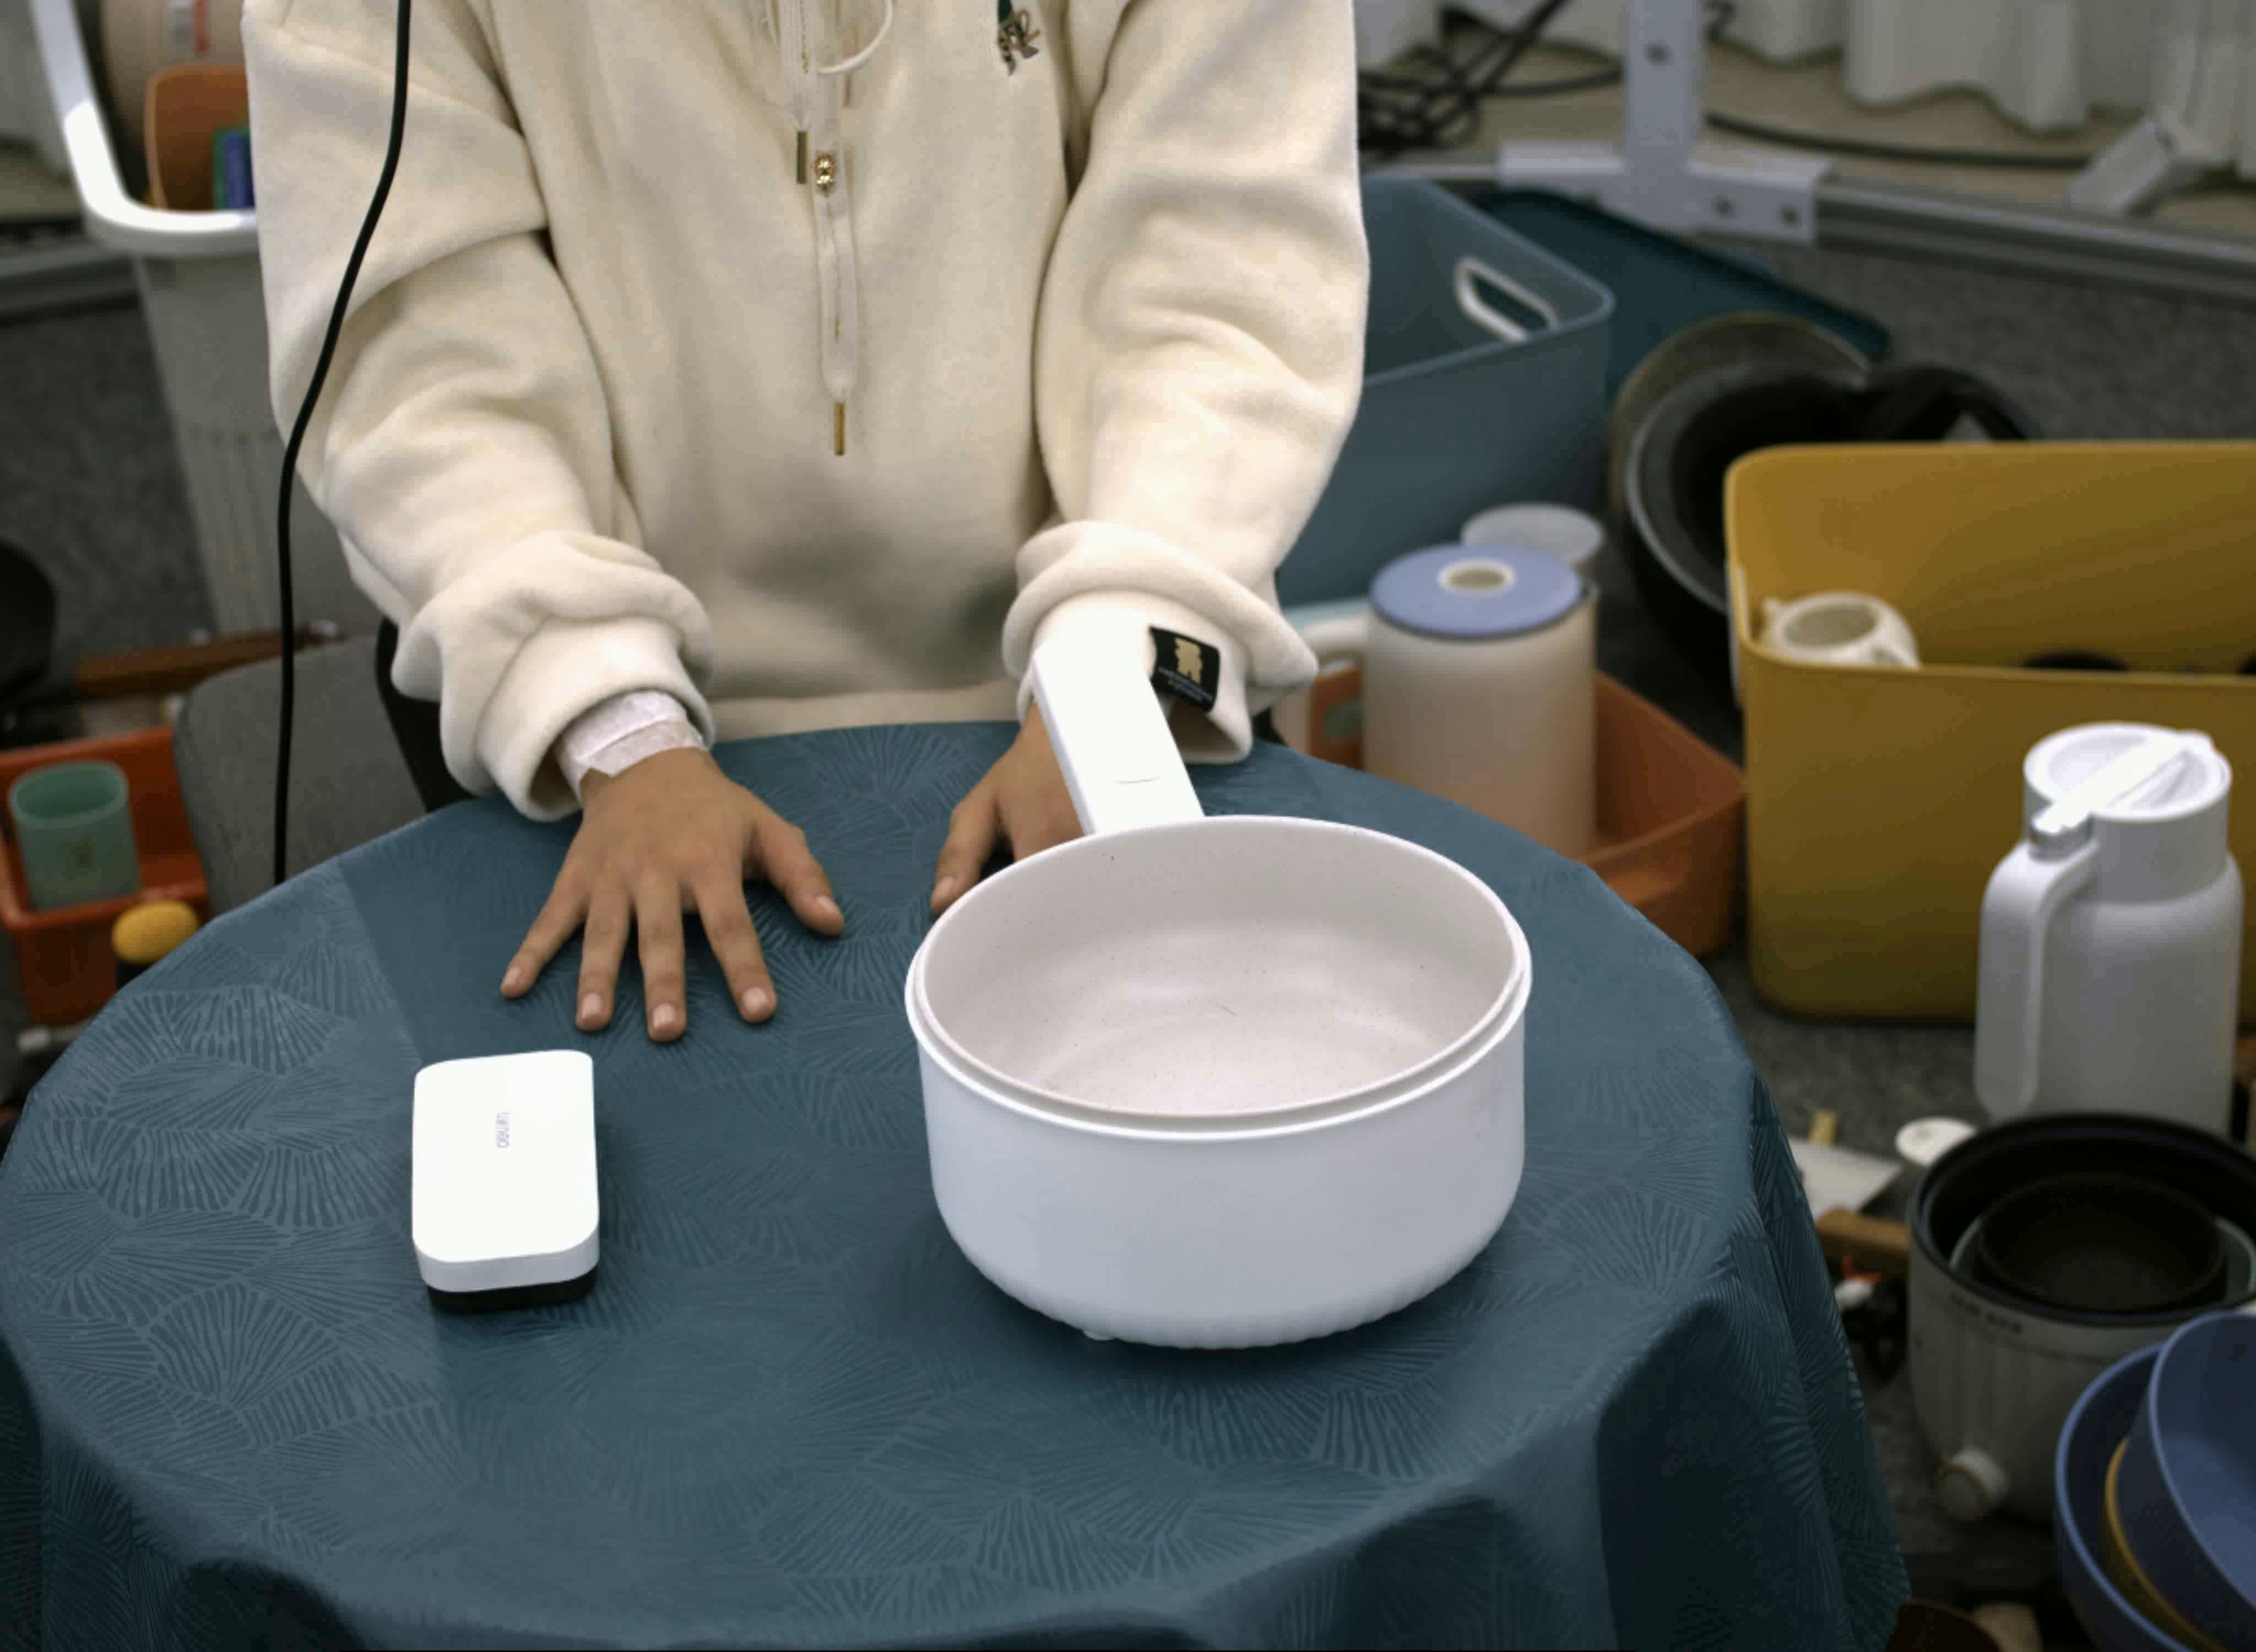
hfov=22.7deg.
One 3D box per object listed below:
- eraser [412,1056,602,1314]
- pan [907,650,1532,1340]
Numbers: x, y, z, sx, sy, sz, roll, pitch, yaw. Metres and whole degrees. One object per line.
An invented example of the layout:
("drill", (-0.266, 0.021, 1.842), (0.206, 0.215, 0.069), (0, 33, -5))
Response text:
("eraser", (-0.205, 0.115, 1.861), (0.063, 0.034, 0.133), (-3, 28, -5))
("pan", (0.017, 0.053, 1.886), (0.201, 0.101, 0.358), (-6, 25, -9))
